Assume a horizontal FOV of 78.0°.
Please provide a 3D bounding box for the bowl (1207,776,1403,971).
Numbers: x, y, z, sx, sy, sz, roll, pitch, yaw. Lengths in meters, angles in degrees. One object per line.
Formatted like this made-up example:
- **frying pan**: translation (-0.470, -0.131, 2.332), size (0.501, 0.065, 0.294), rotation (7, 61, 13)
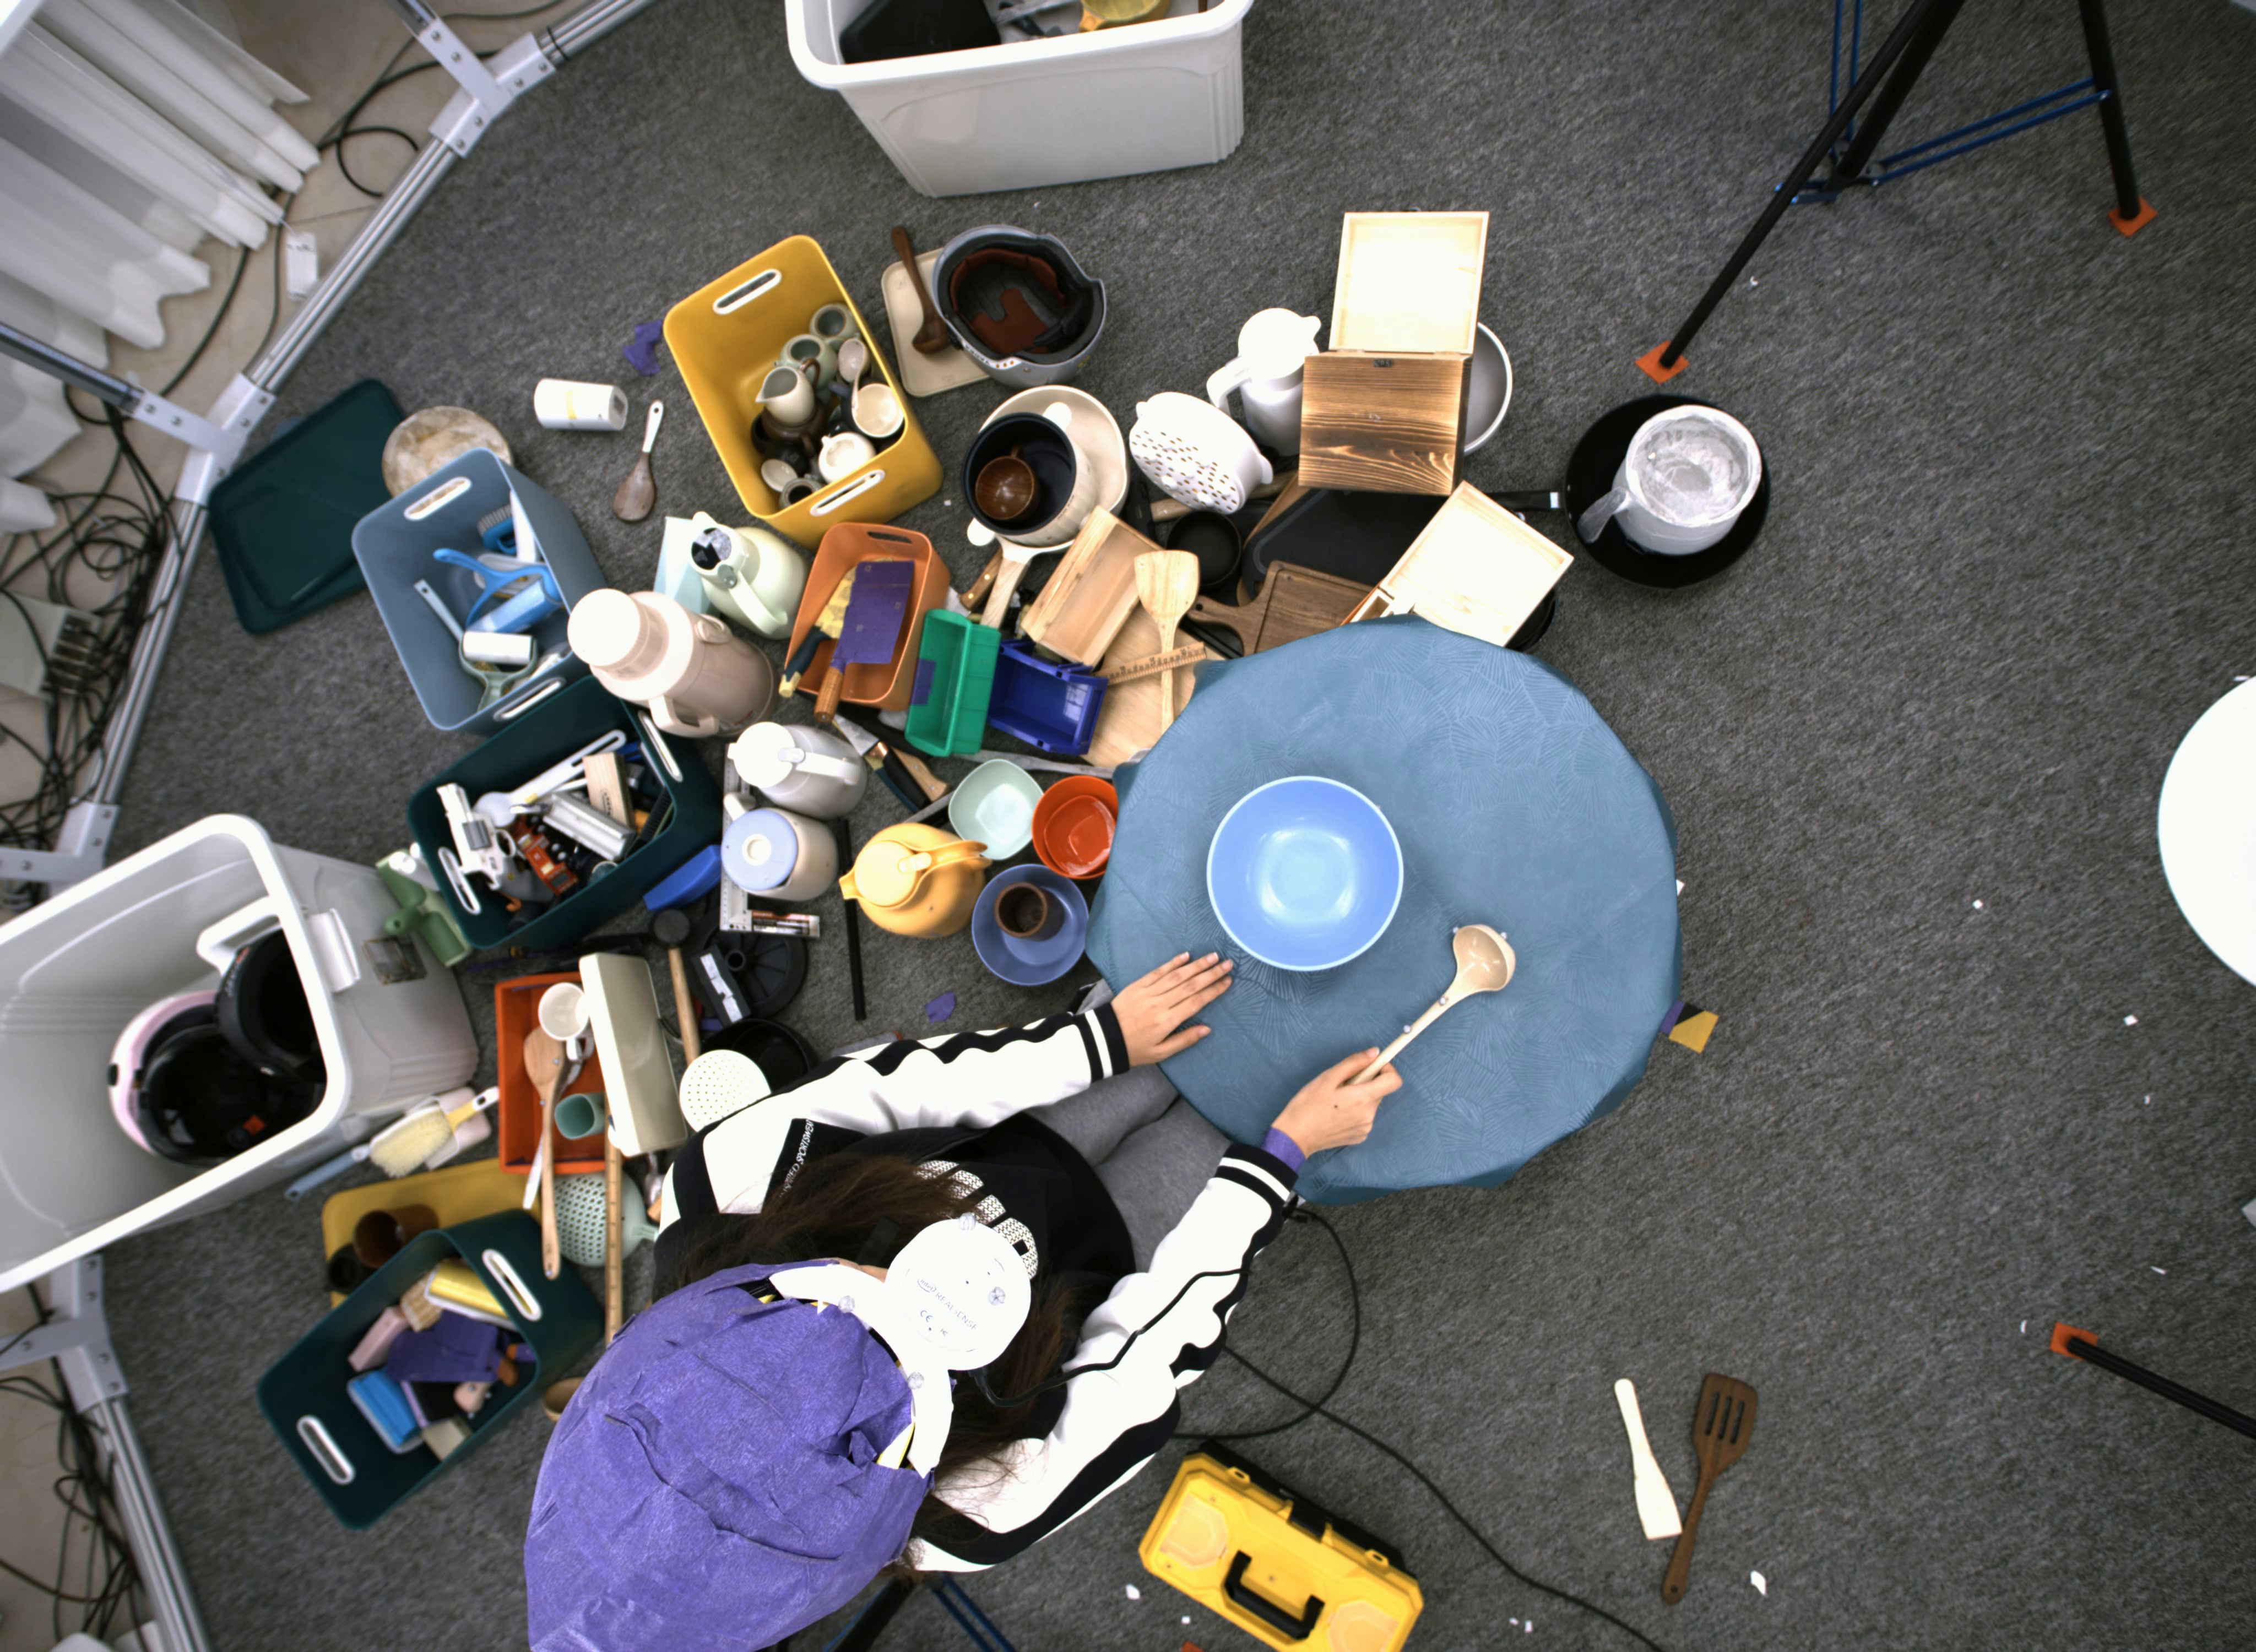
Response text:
- **bowl**: translation (0.184, 0.050, 1.432), size (0.197, 0.095, 0.196), rotation (-1, 87, 9)

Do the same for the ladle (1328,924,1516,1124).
- **ladle**: translation (0.290, 0.200, 1.398), size (0.253, 0.074, 0.071), rotation (-44, 63, -4)
